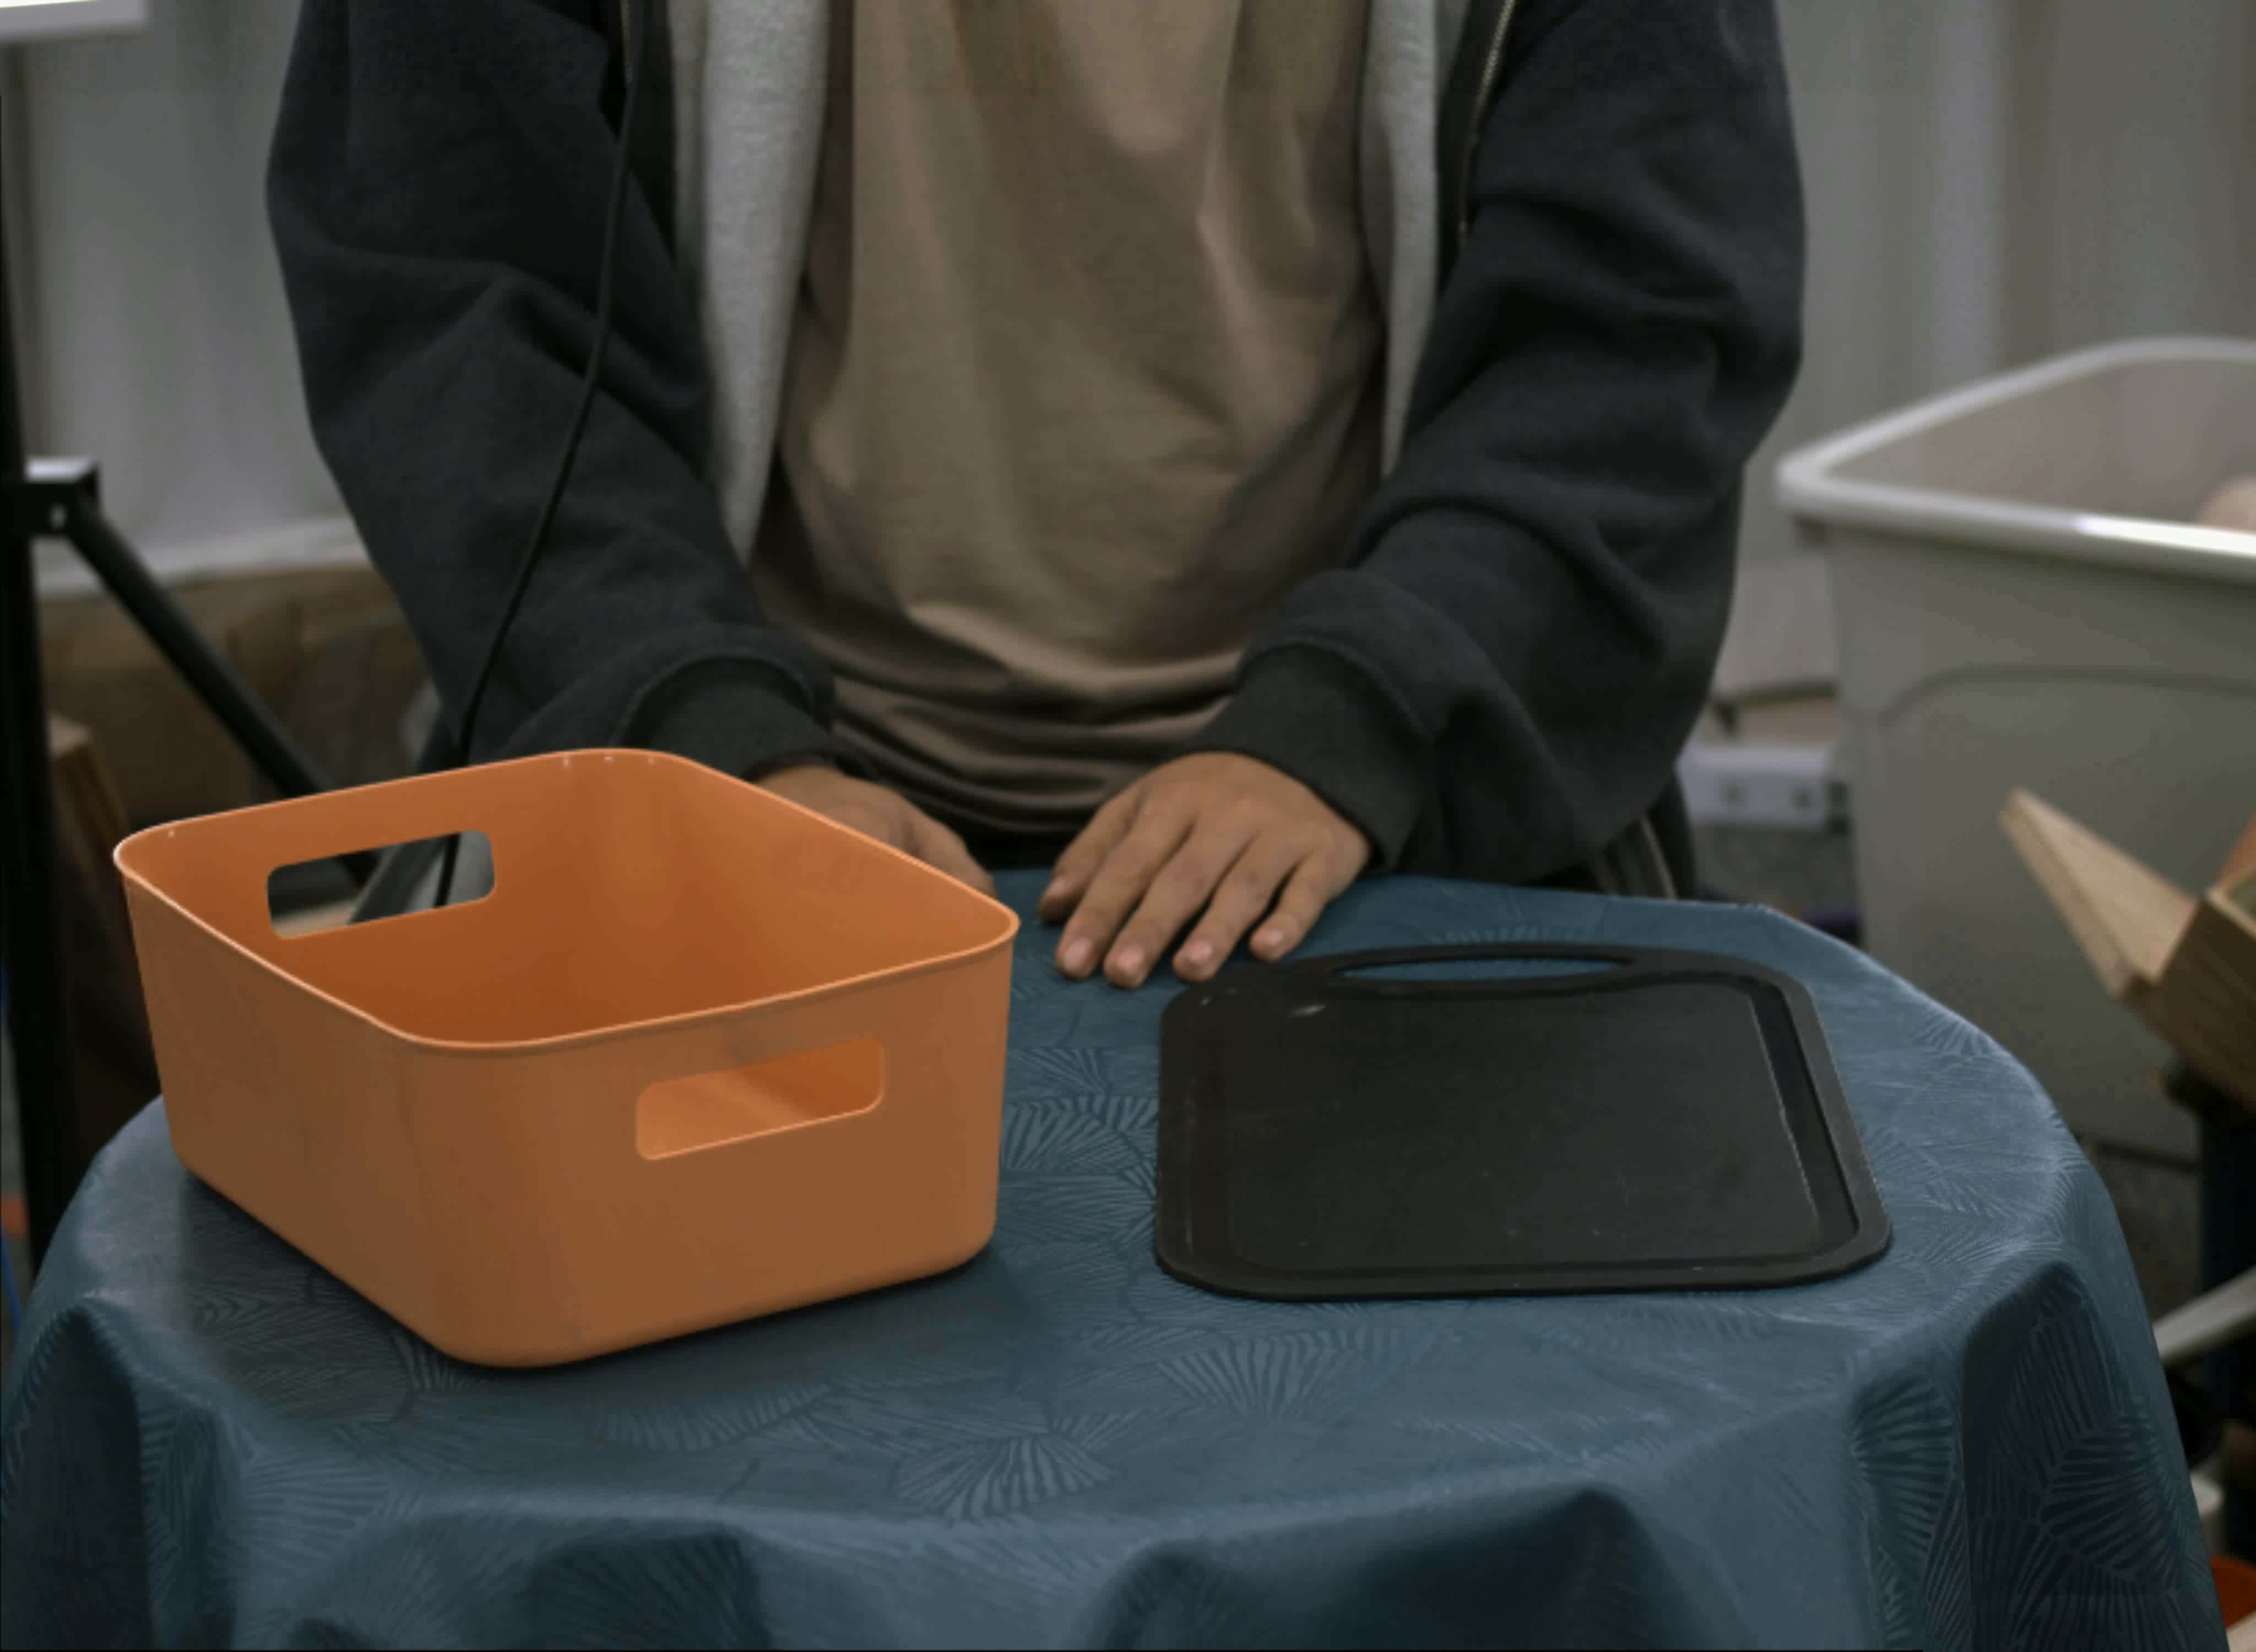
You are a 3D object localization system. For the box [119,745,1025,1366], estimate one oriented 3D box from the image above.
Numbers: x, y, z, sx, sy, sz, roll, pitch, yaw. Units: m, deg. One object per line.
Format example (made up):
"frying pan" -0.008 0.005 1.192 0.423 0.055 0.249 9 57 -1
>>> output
"box" -0.162 0.063 1.556 0.195 0.102 0.279 -11 18 -28

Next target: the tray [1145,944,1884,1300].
"tray" 0.111 0.084 1.615 0.210 0.010 0.326 -2 16 2
